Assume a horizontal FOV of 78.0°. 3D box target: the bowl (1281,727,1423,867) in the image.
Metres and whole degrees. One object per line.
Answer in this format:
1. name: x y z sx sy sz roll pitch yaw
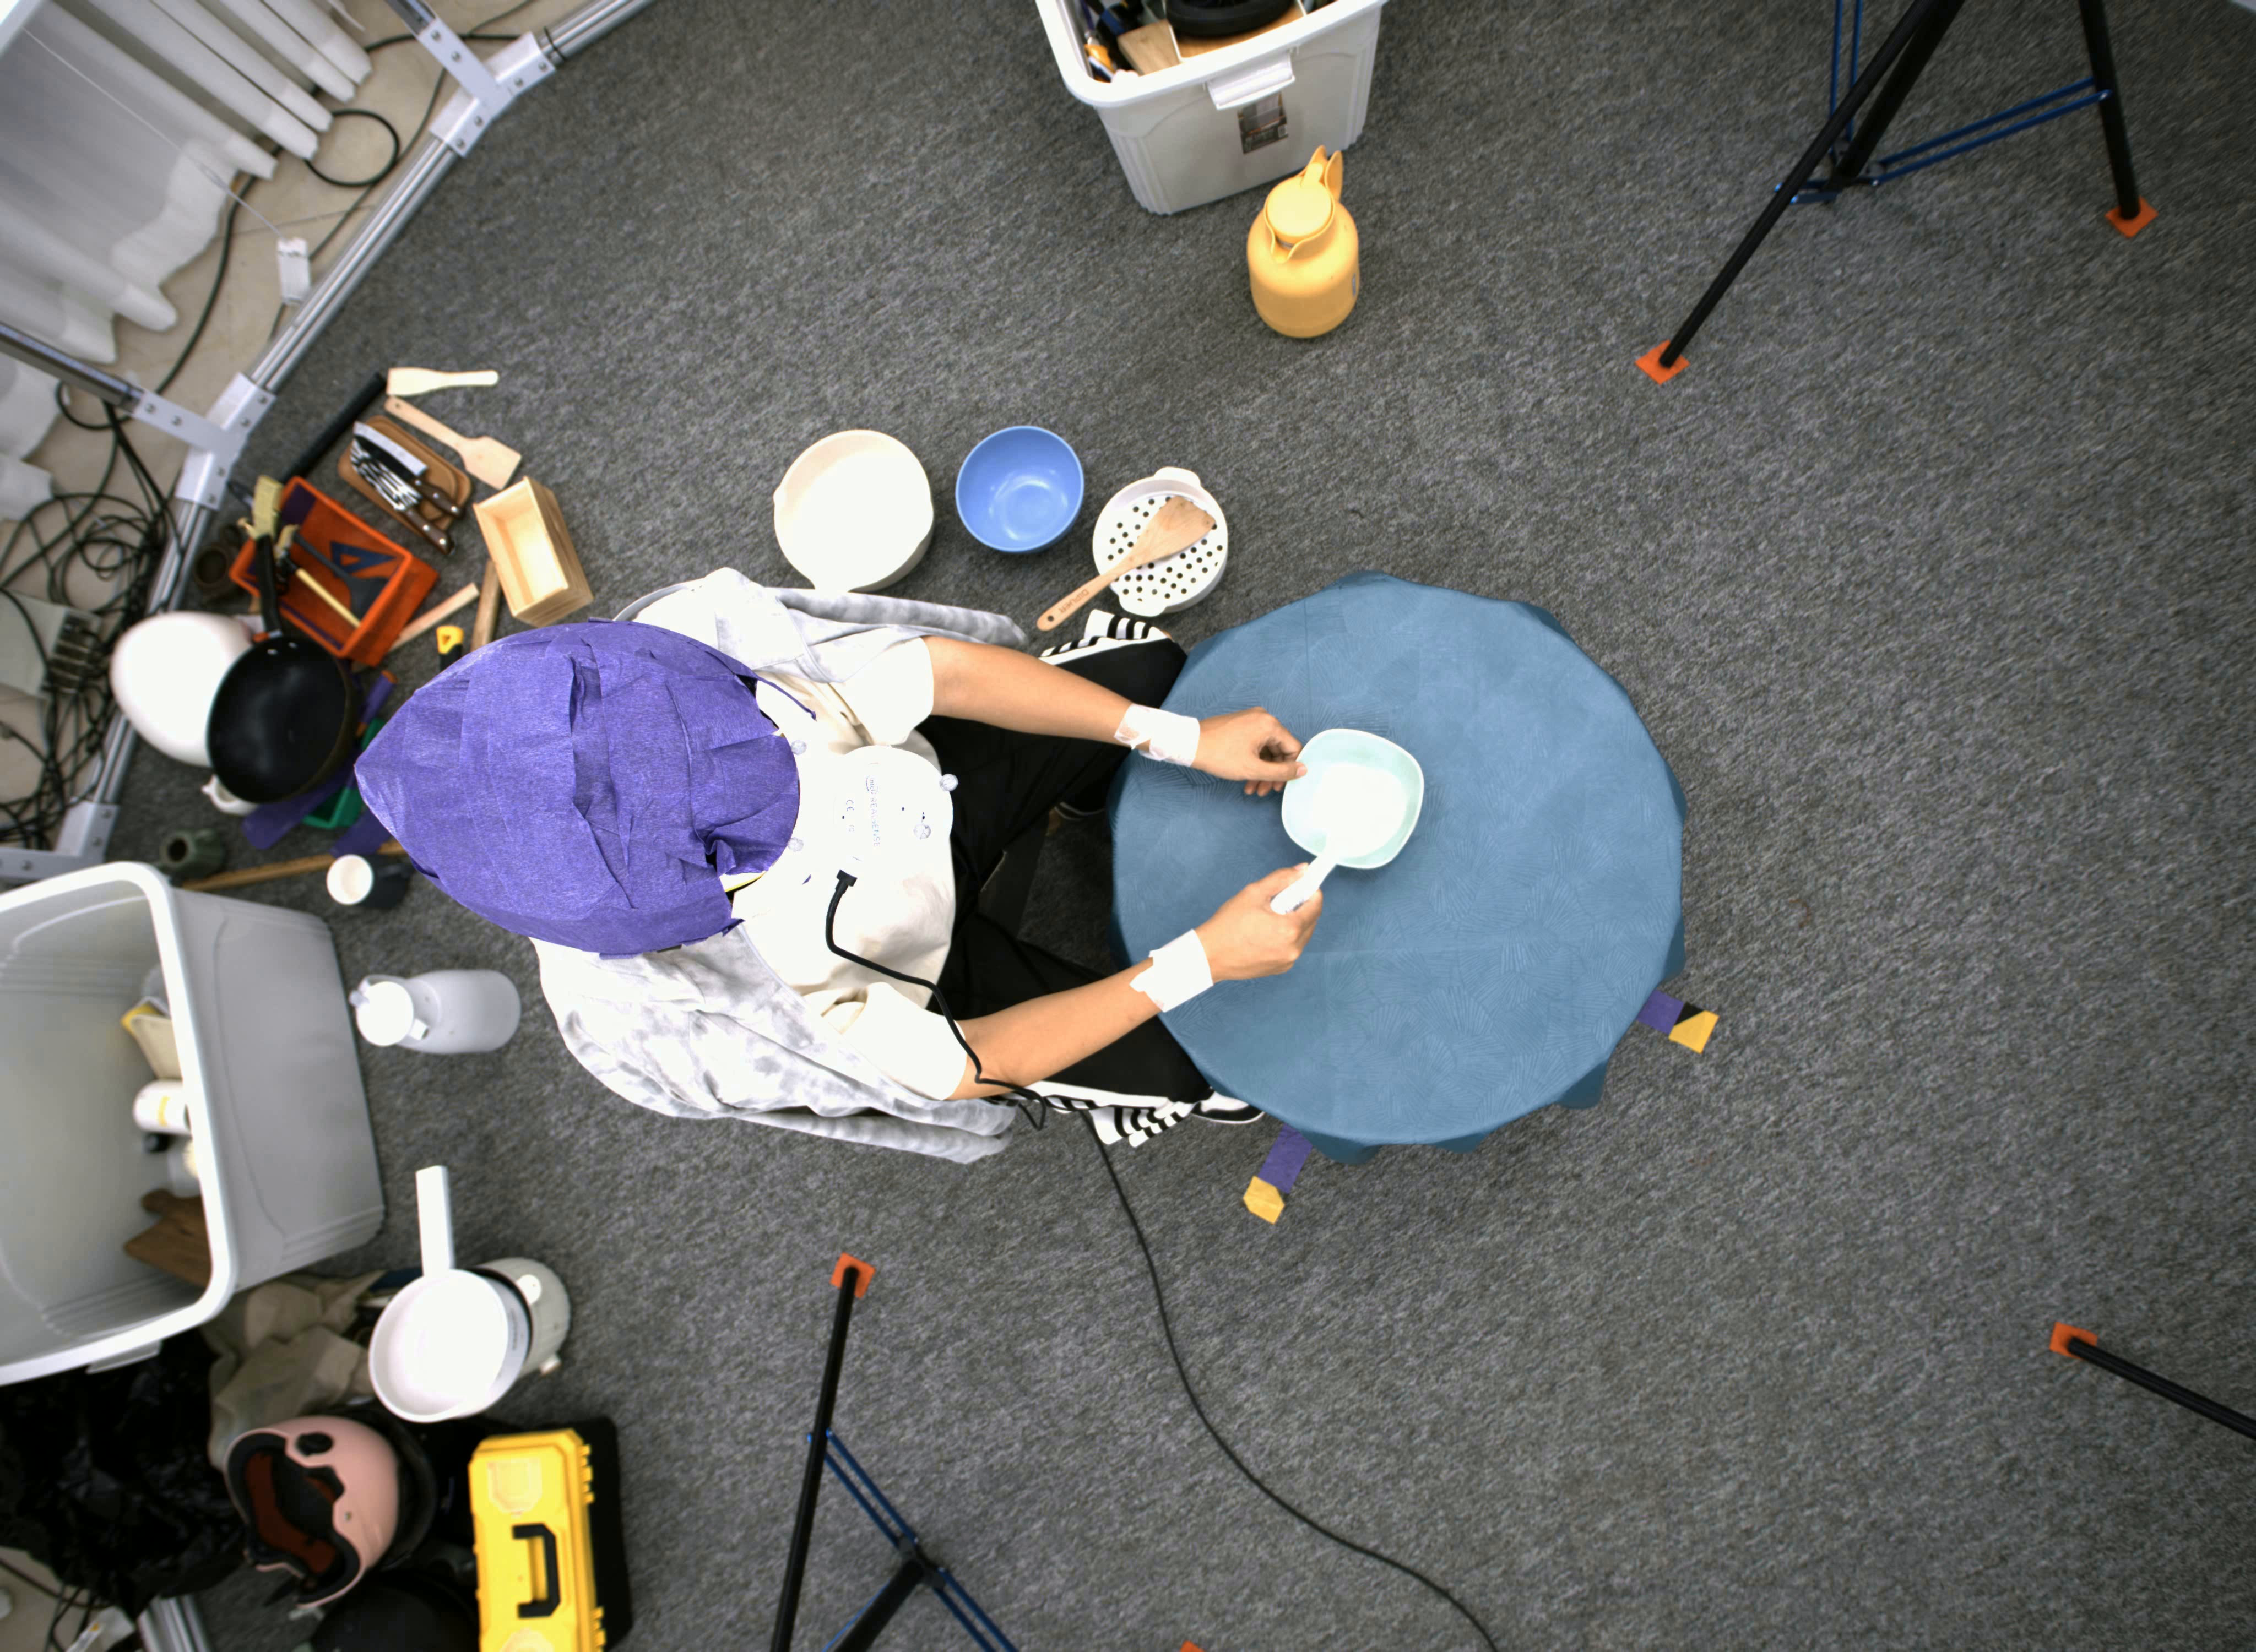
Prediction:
1. bowl: 0.233 -0.029 1.441 0.152 0.058 0.151 0 88 8

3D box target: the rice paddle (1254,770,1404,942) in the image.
1. rice paddle: 0.201 0.027 1.355 0.069 0.029 0.204 44 84 -20
